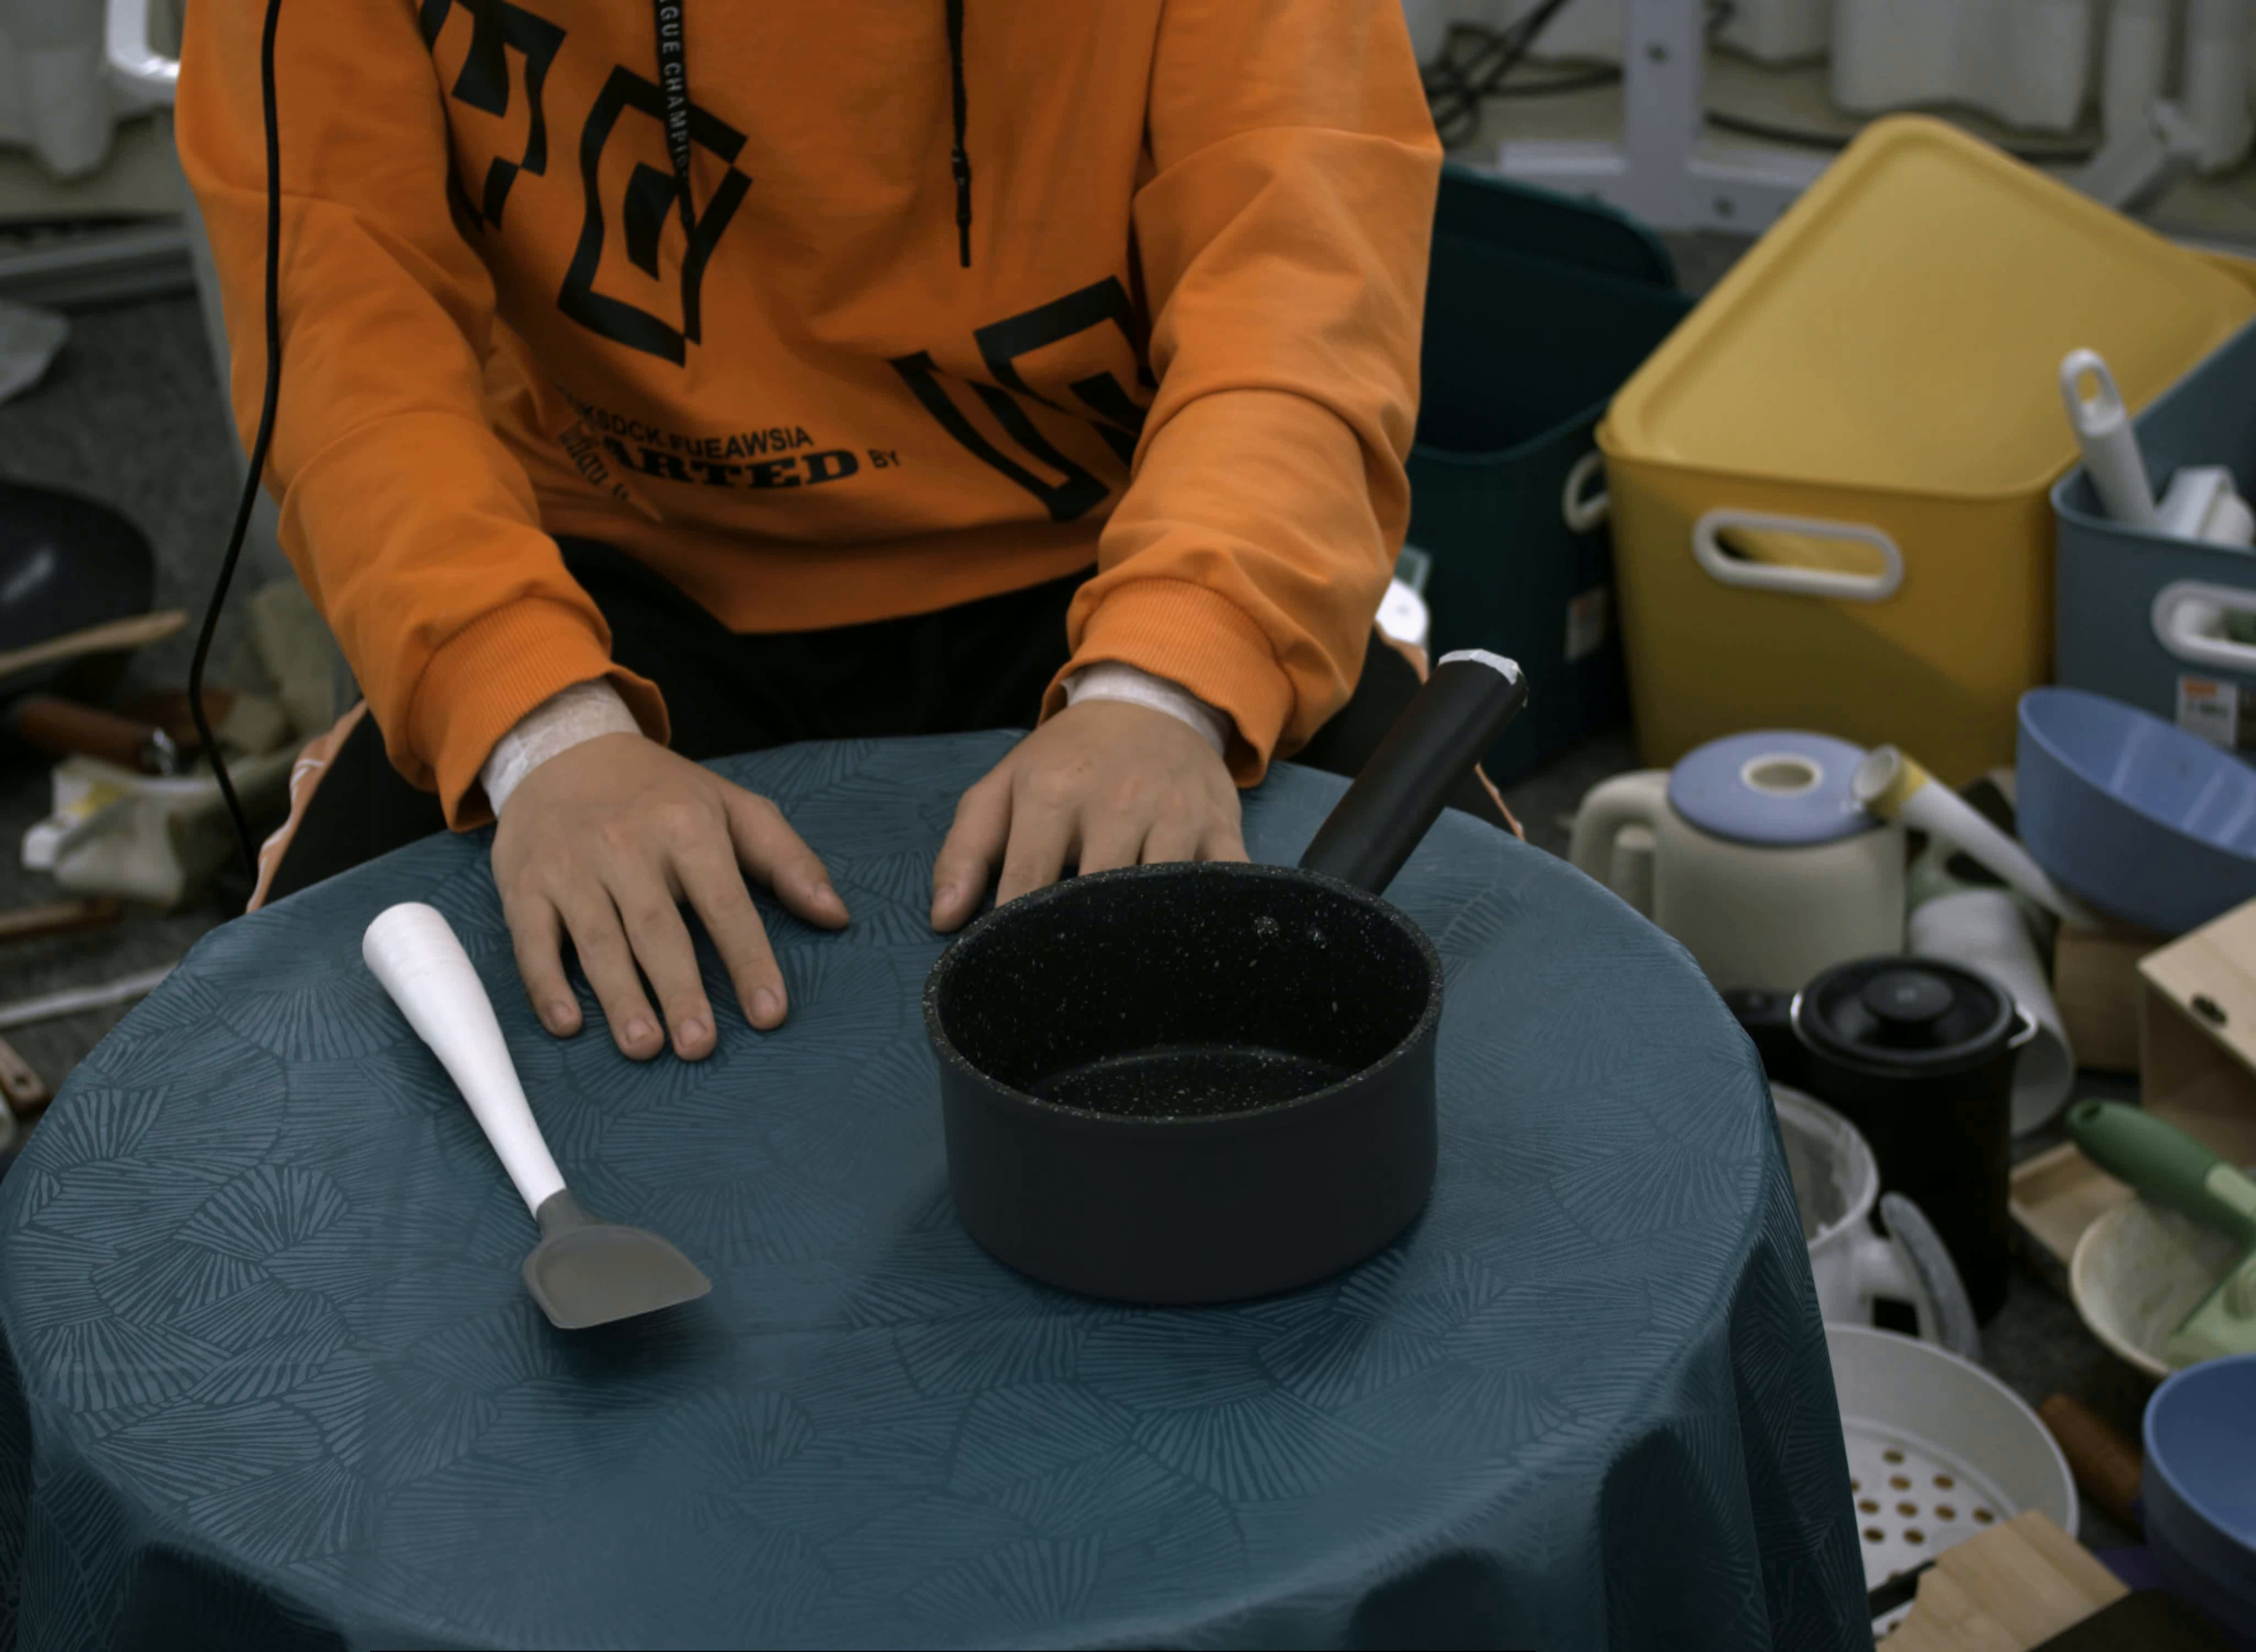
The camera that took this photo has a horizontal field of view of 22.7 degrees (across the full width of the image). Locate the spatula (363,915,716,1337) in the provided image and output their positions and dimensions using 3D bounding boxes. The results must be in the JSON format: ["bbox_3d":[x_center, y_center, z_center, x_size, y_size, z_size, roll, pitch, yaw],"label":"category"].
[{"bbox_3d":[-0.204,0.104,1.882,0.059,0.032,0.290,-8,27,-20],"label":"spatula"}]

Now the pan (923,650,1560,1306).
[{"bbox_3d":[0.059,0.047,1.909,0.171,0.085,0.334,13,33,27],"label":"pan"}]
